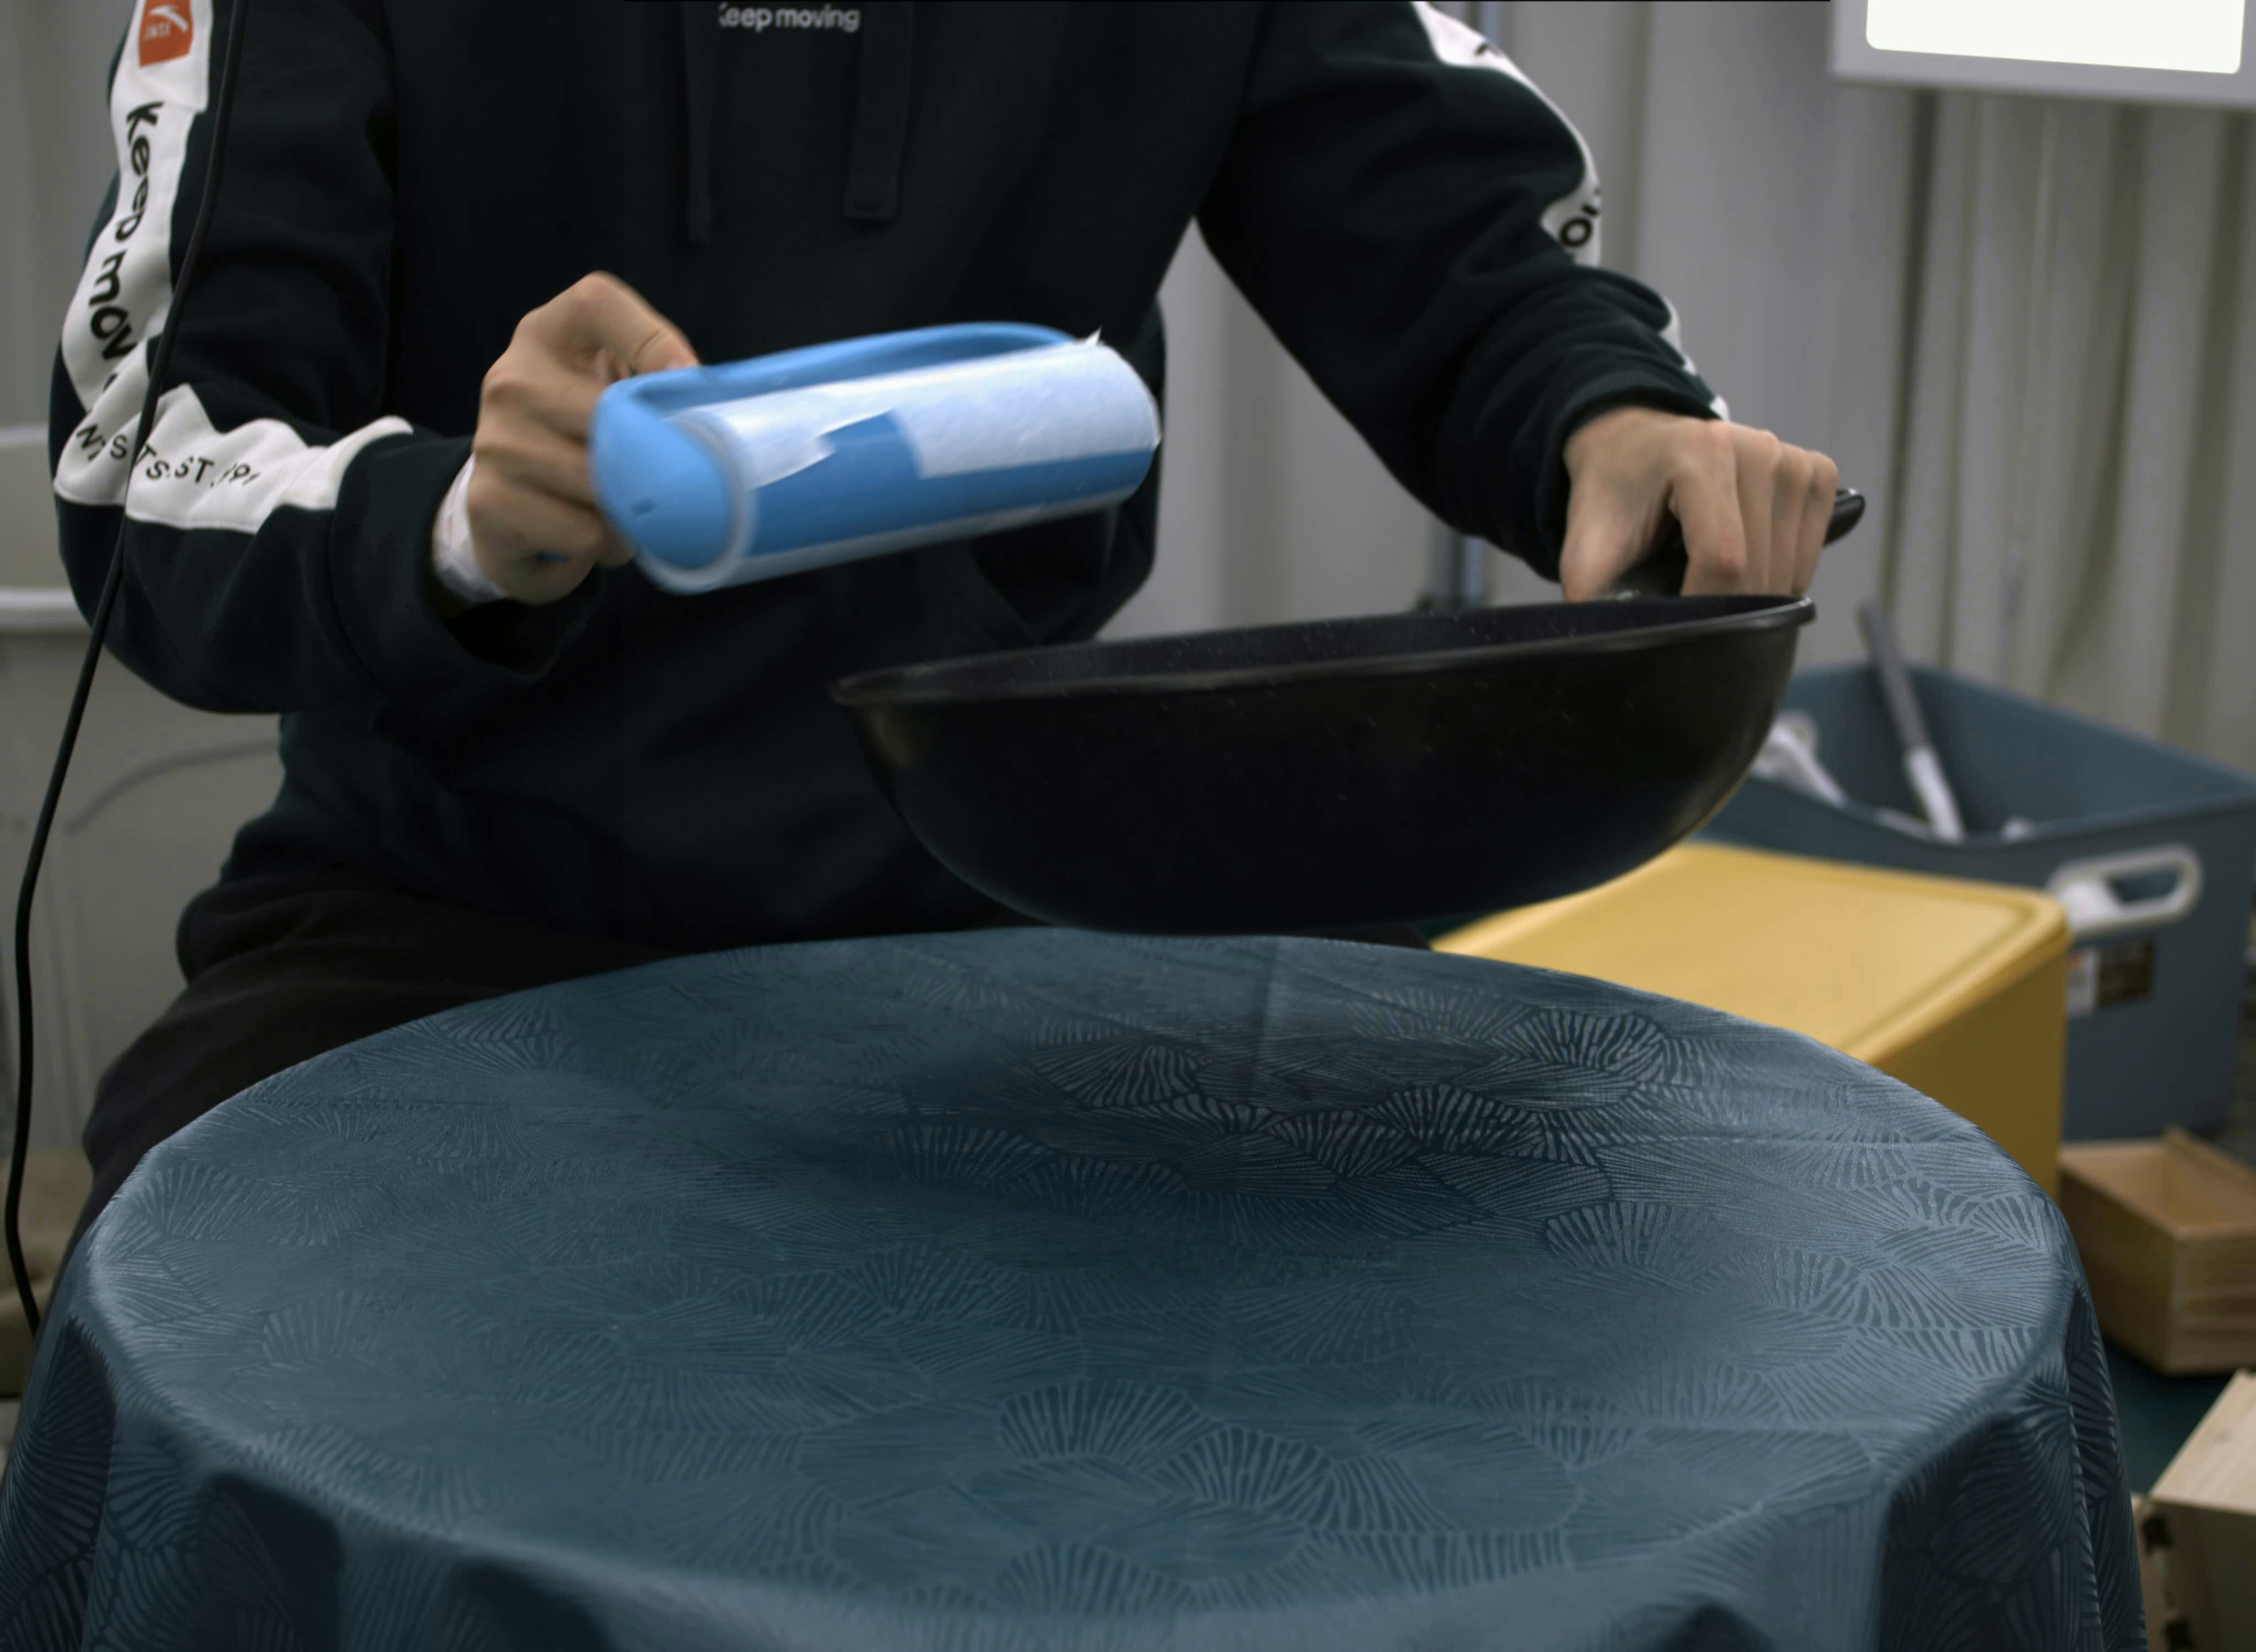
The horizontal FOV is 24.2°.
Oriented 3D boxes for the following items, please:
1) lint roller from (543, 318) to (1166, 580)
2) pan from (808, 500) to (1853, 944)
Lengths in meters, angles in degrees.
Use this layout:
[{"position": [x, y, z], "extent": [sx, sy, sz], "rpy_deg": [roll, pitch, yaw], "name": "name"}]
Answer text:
[{"position": [-0.113, -0.115, 1.624], "extent": [0.178, 0.068, 0.230], "rpy_deg": [0, 11, 32], "name": "lint roller"}, {"position": [0.108, -0.036, 1.699], "extent": [0.306, 0.112, 0.480], "rpy_deg": [0, 7, 37], "name": "pan"}]
